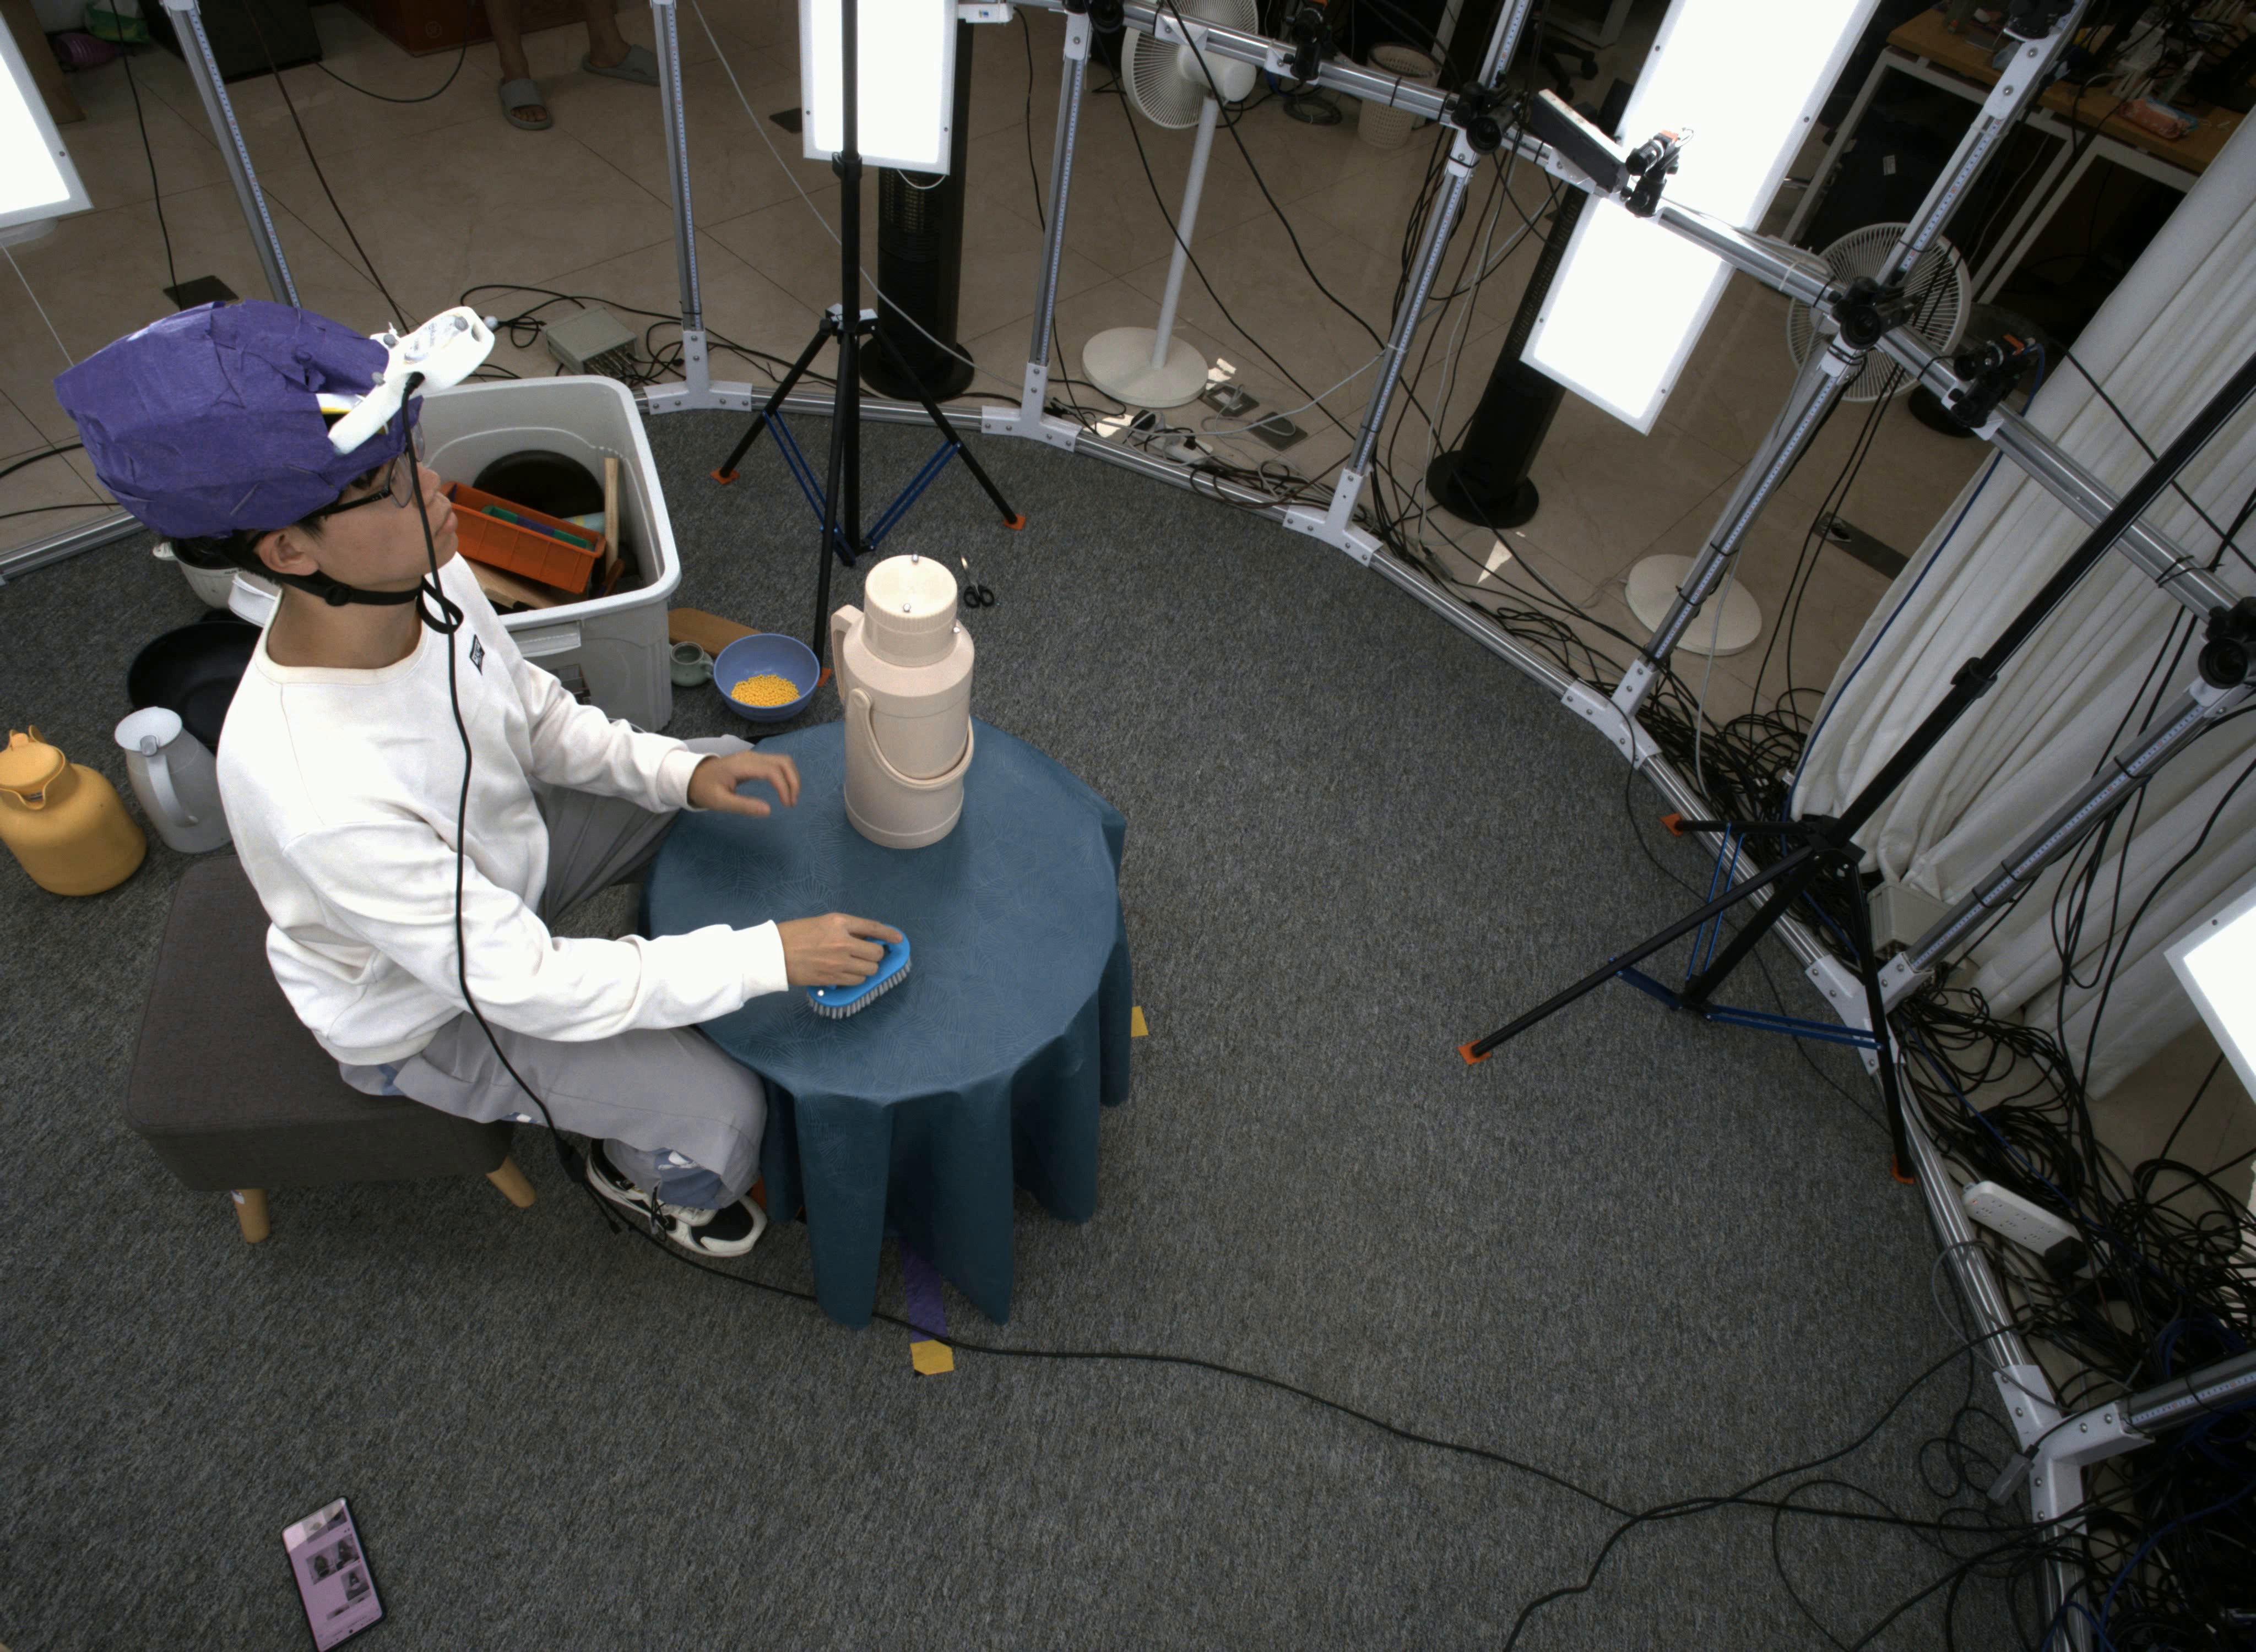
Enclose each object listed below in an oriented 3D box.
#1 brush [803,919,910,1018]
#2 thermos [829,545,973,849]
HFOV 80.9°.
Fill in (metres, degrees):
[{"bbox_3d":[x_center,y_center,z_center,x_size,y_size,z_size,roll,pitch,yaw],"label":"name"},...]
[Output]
[{"bbox_3d":[-0.323,0.163,1.560,0.142,0.065,0.083,-35,71,-30],"label":"brush"},{"bbox_3d":[-0.290,-0.164,1.634,0.203,0.415,0.175,32,55,15],"label":"thermos"}]
